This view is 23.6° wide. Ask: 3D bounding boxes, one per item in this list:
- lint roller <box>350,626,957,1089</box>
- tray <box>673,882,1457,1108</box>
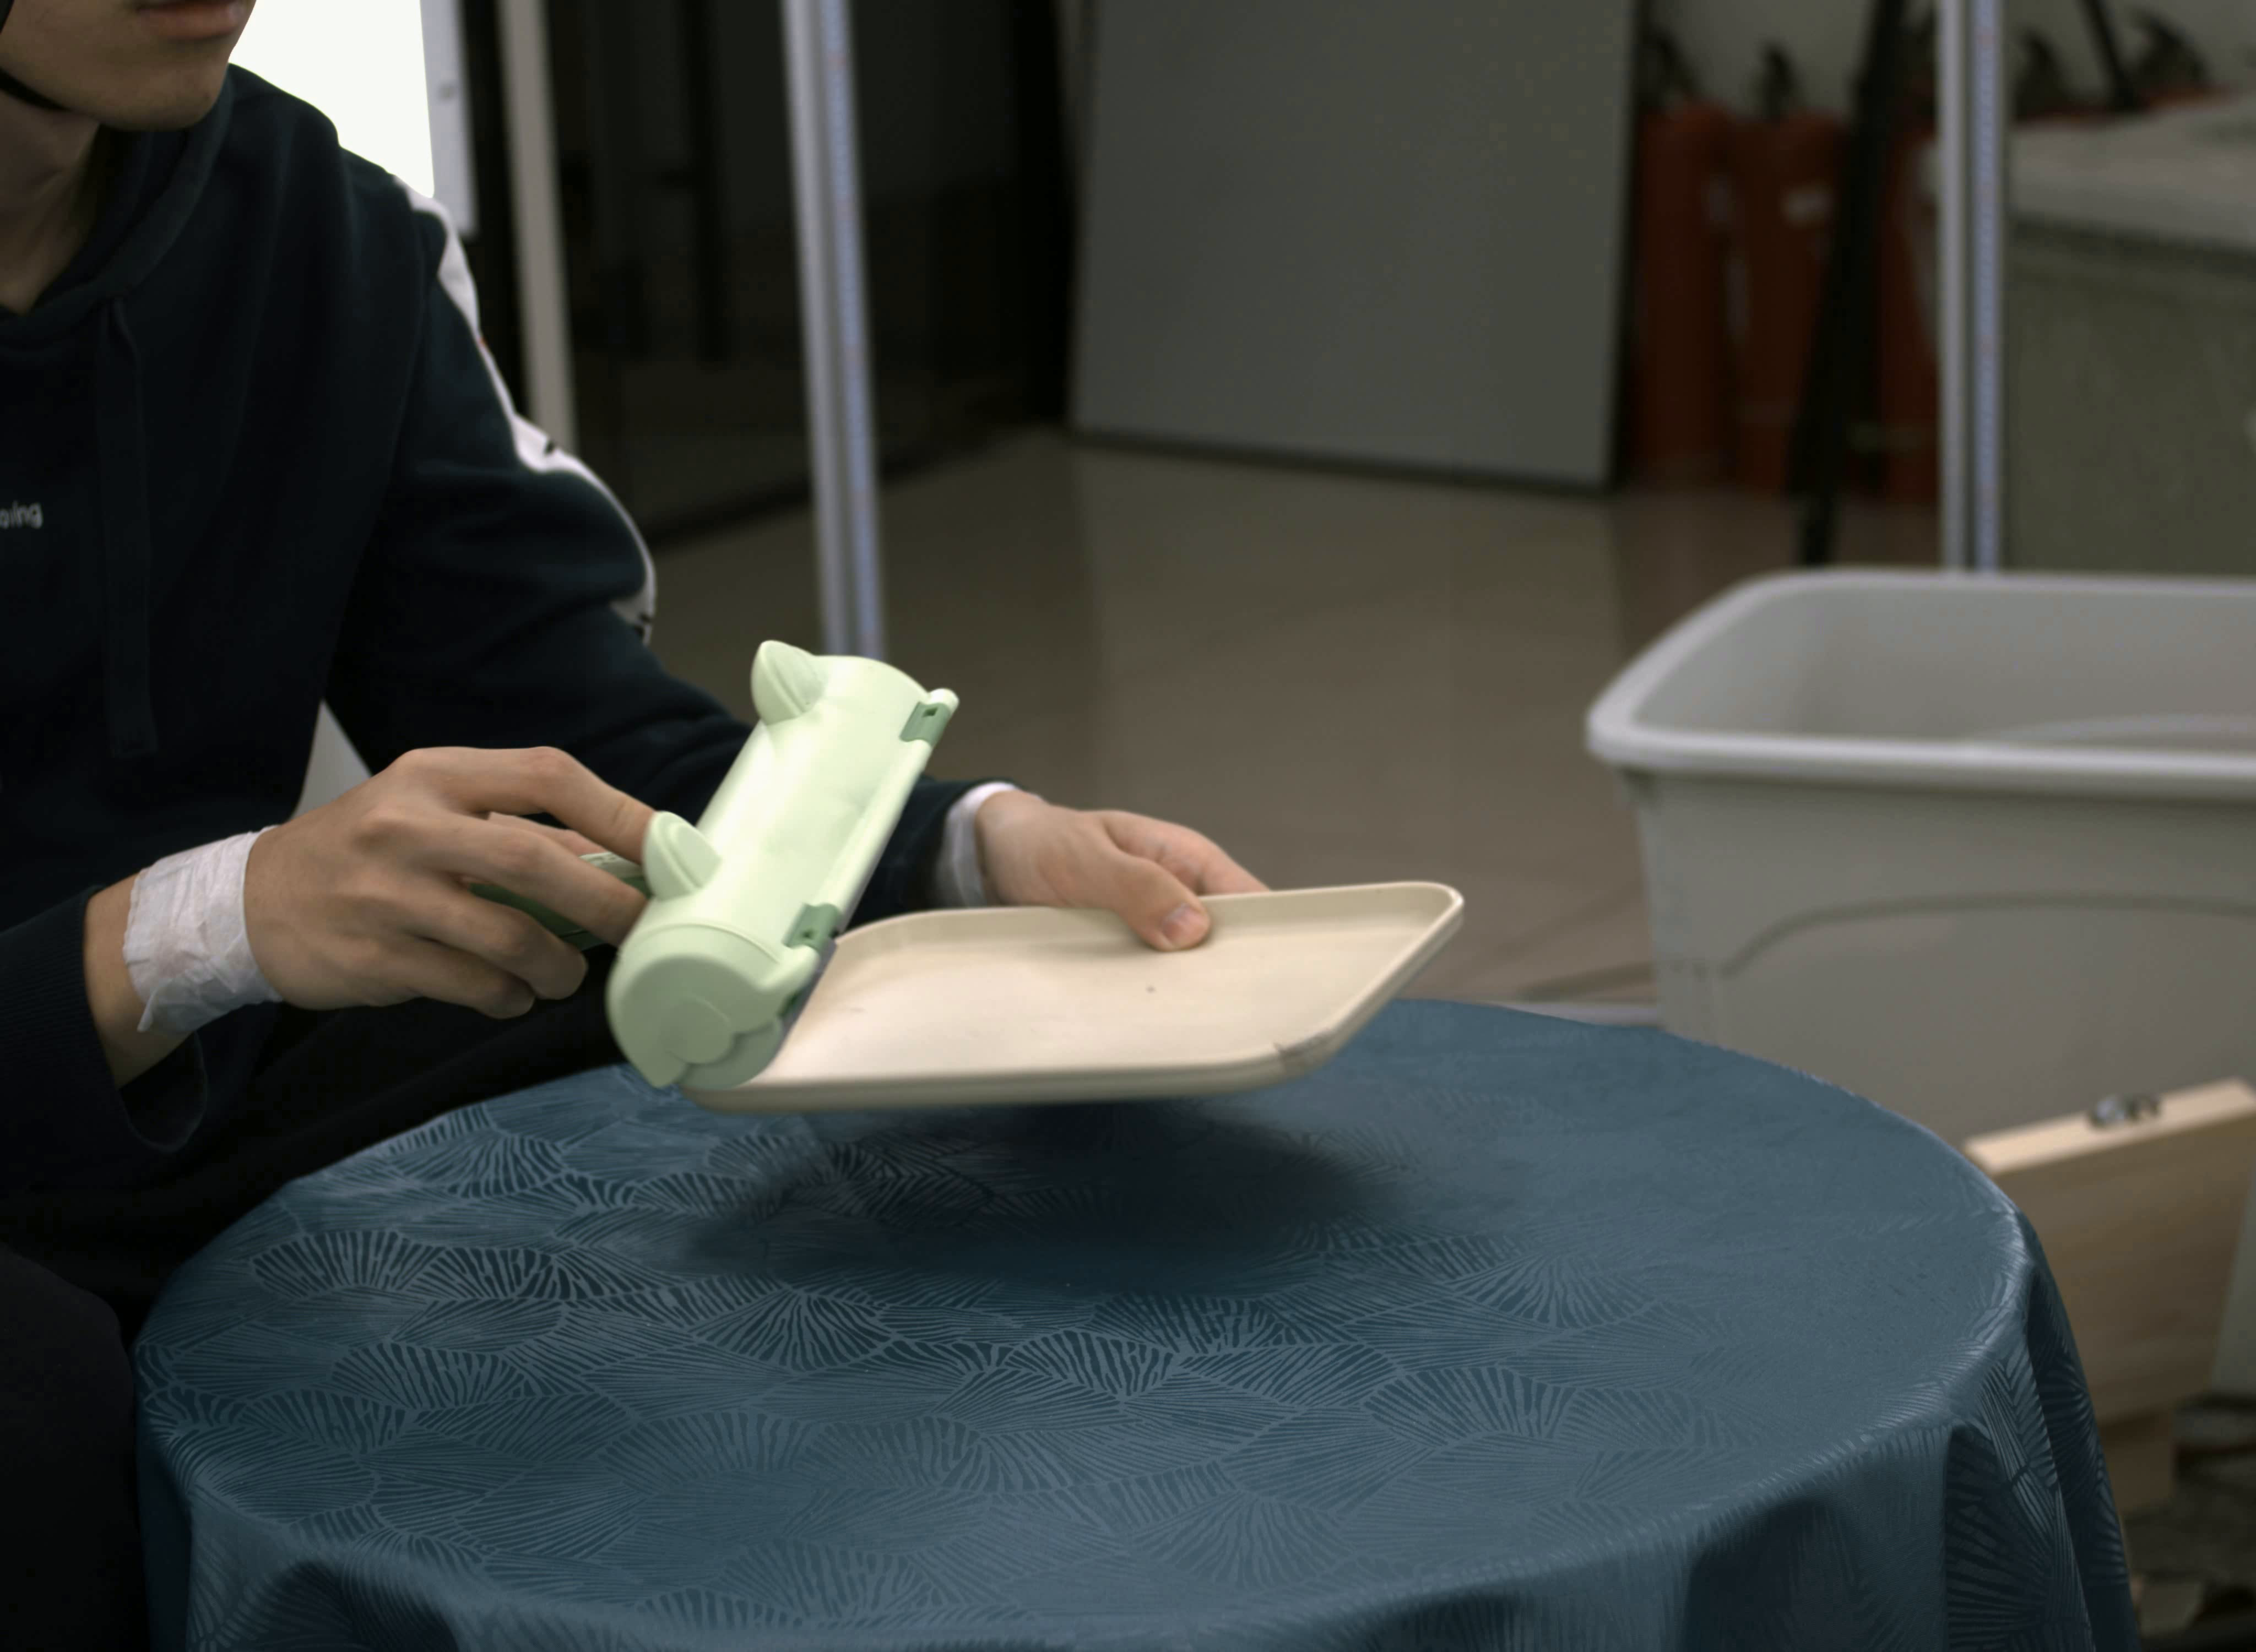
[{"bbox_3d":[-0.158,0.006,1.641,0.182,0.082,0.198,-3,27,16],"label":"lint roller"},{"bbox_3d":[-0.020,0.057,1.766,0.240,0.017,0.169,-5,14,27],"label":"tray"}]
